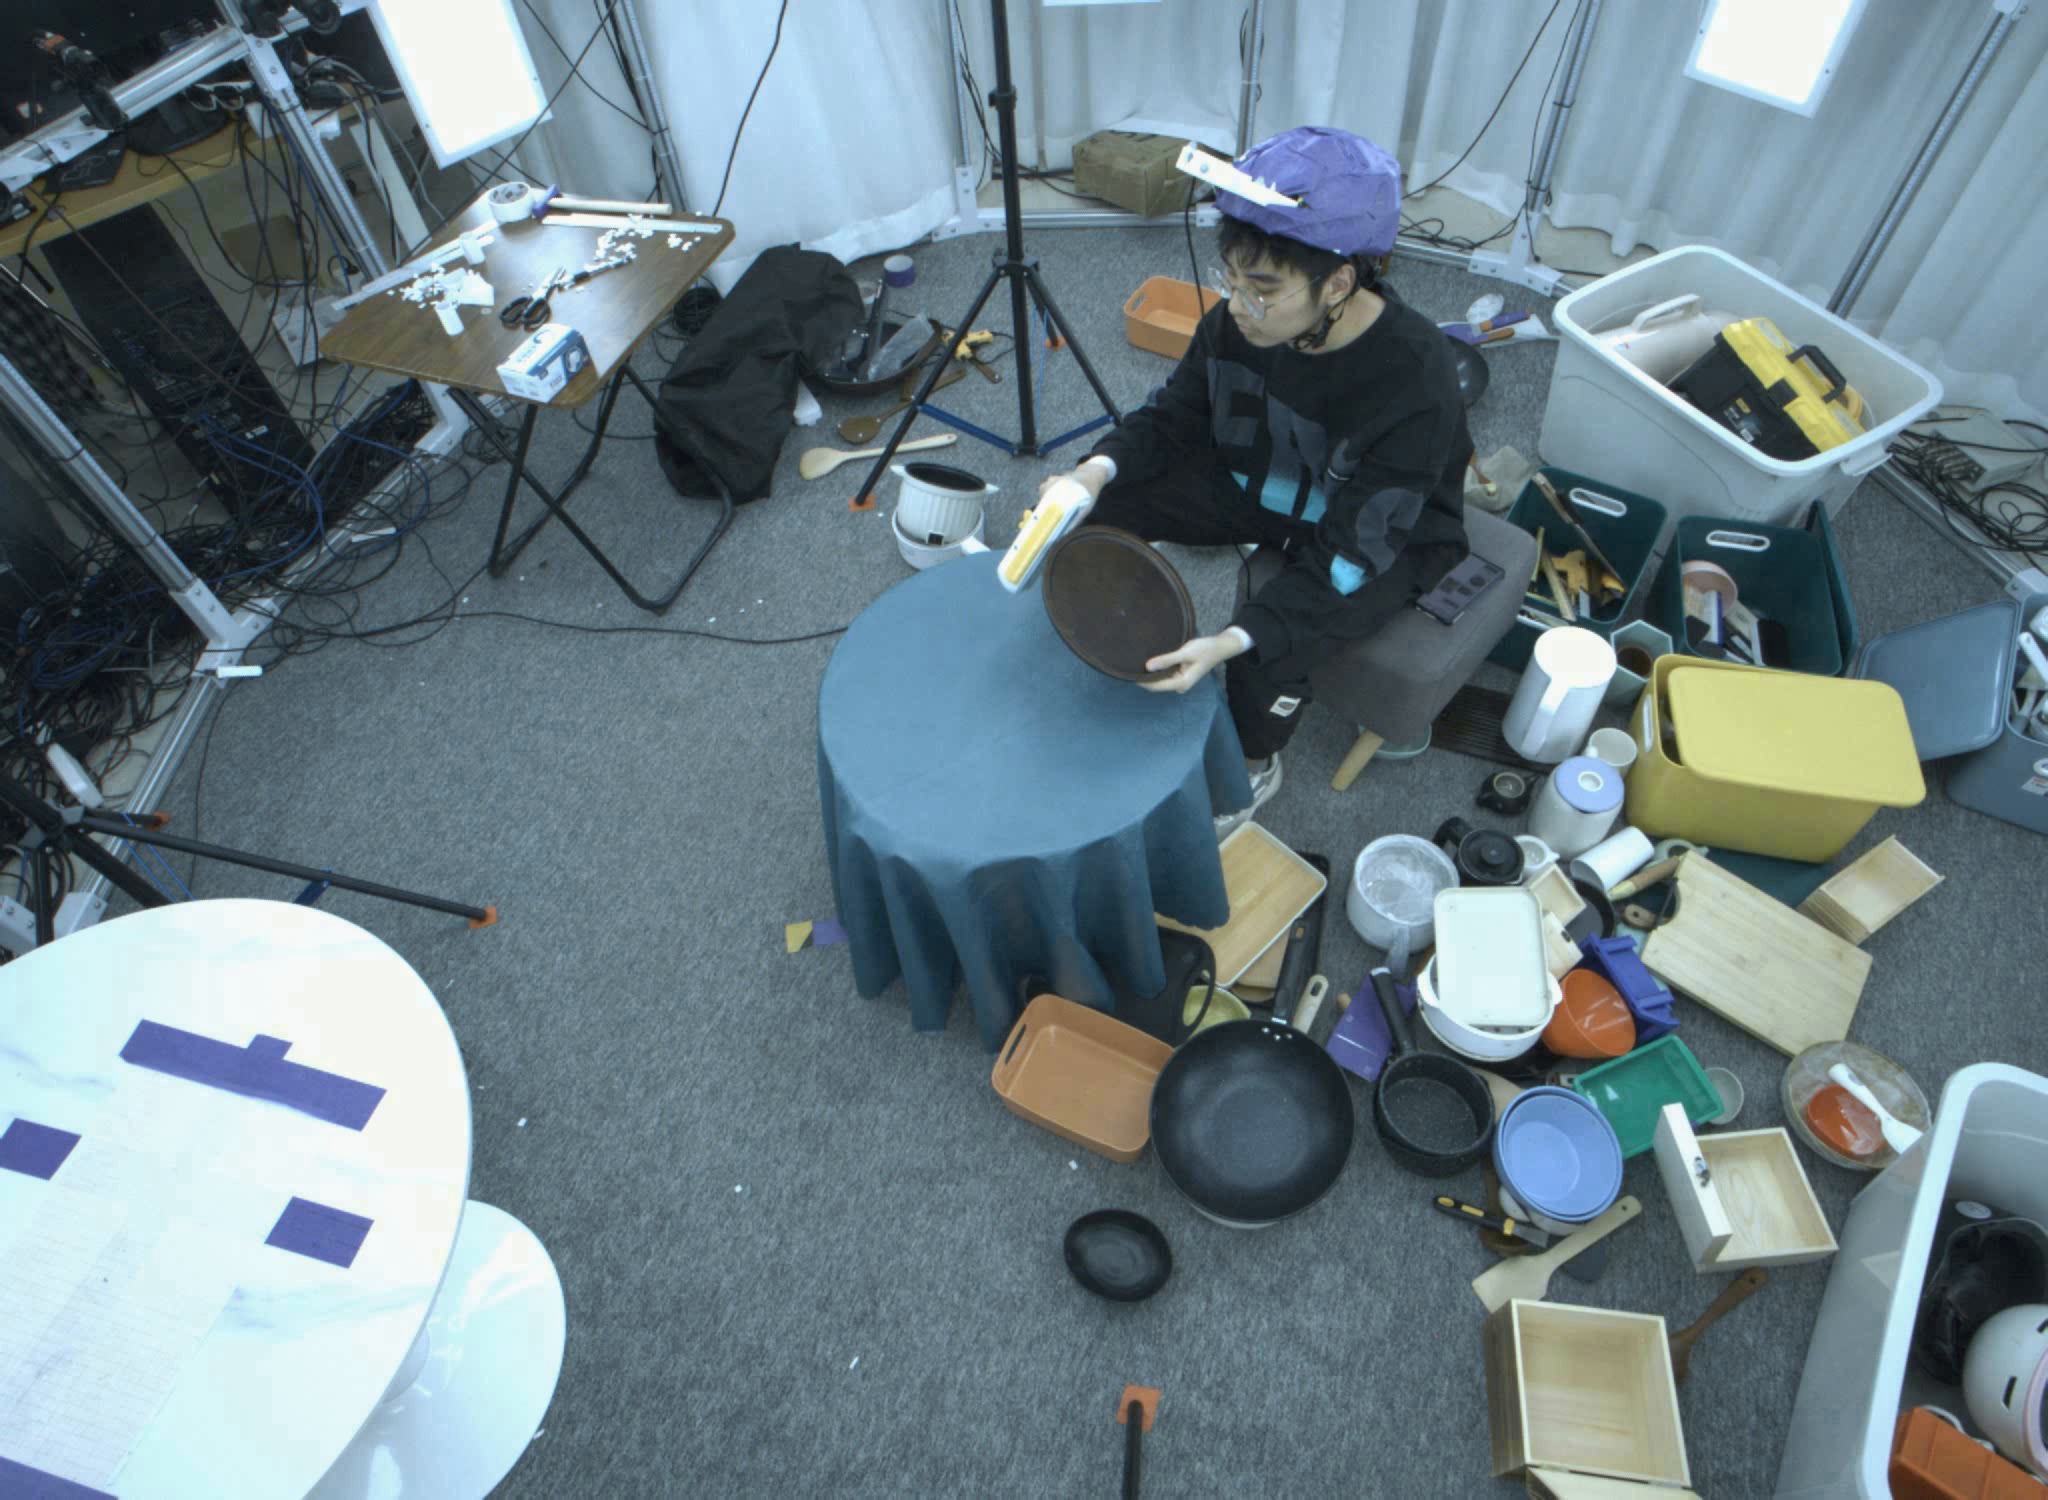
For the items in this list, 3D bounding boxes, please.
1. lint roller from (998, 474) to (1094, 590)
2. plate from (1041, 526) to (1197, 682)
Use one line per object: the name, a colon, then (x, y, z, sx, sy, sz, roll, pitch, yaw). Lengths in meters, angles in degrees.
lint roller: (0.045, -0.338, 1.814, 0.074, 0.192, 0.193, 36, 30, 6)
plate: (0.135, -0.210, 1.761, 0.259, 0.029, 0.252, 15, 61, -26)
